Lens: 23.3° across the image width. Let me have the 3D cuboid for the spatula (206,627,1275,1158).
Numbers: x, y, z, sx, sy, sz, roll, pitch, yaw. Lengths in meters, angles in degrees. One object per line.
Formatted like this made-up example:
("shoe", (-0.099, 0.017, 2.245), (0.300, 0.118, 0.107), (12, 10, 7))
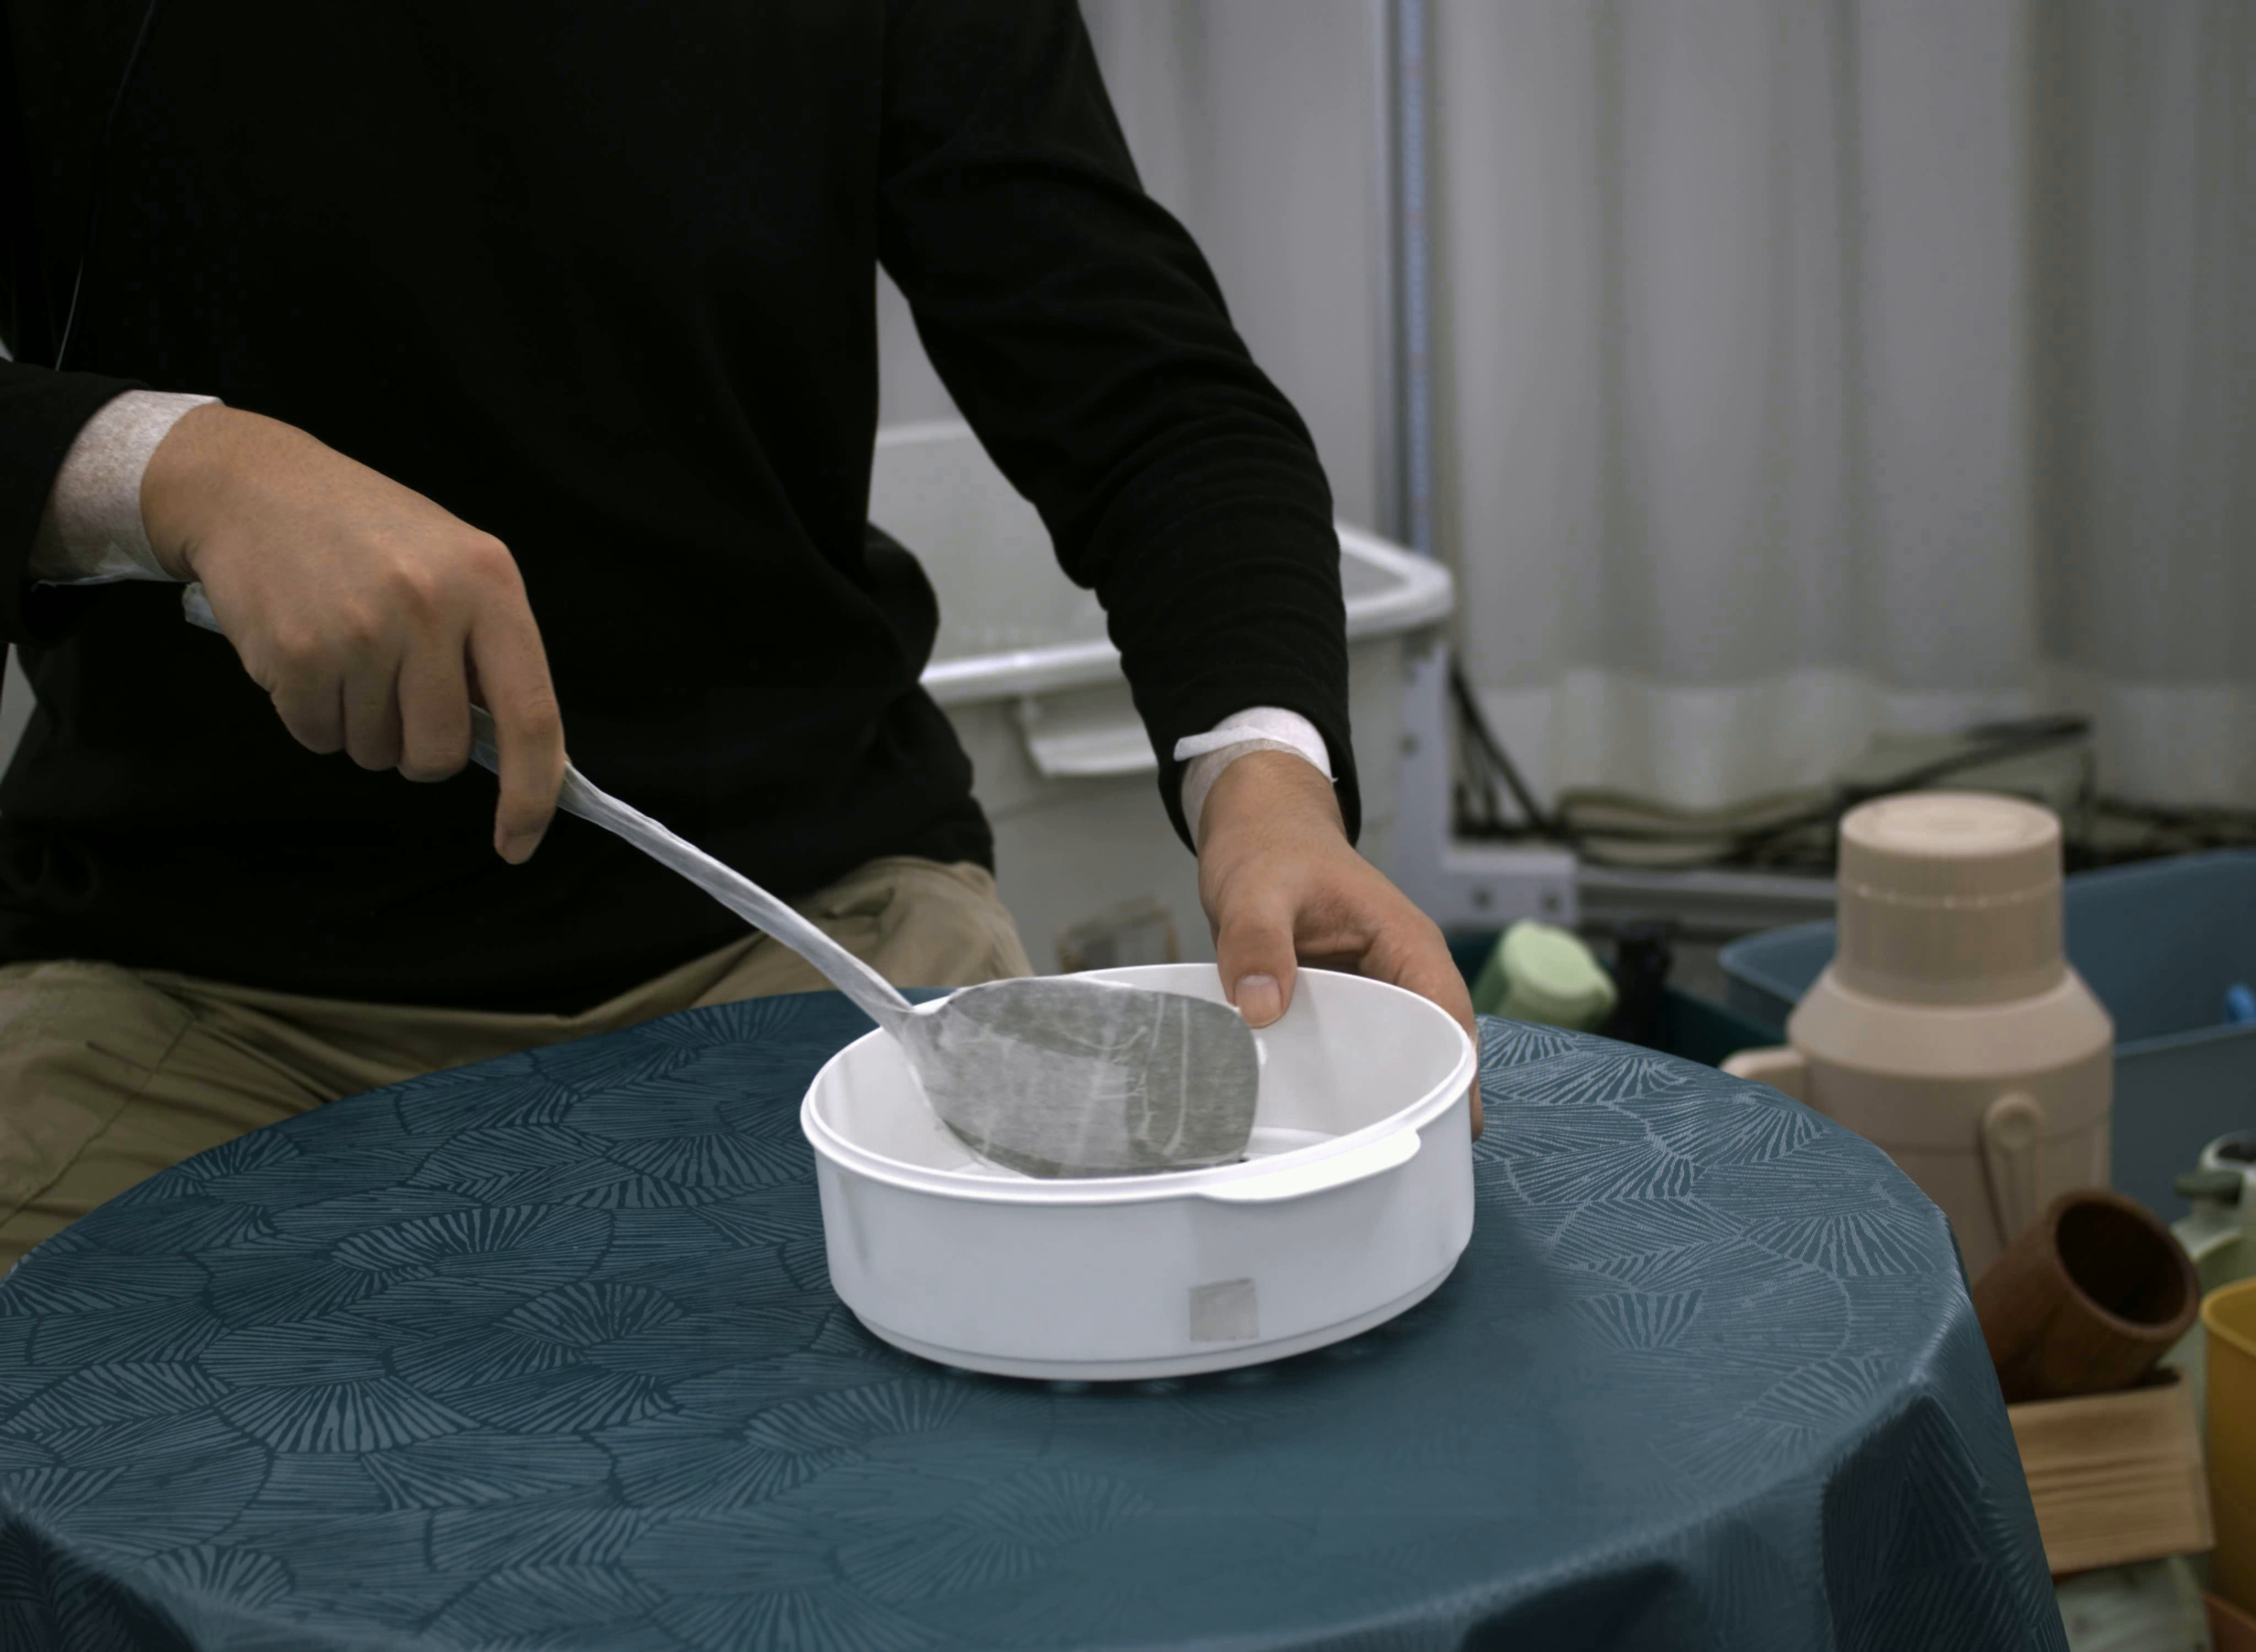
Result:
("spatula", (-0.122, 0.015, 1.659), (0.366, 0.097, 0.045), (30, 49, 16))

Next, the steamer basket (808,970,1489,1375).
("steamer basket", (0.008, 0.102, 1.615), (0.201, 0.069, 0.232), (-12, 17, -27))
